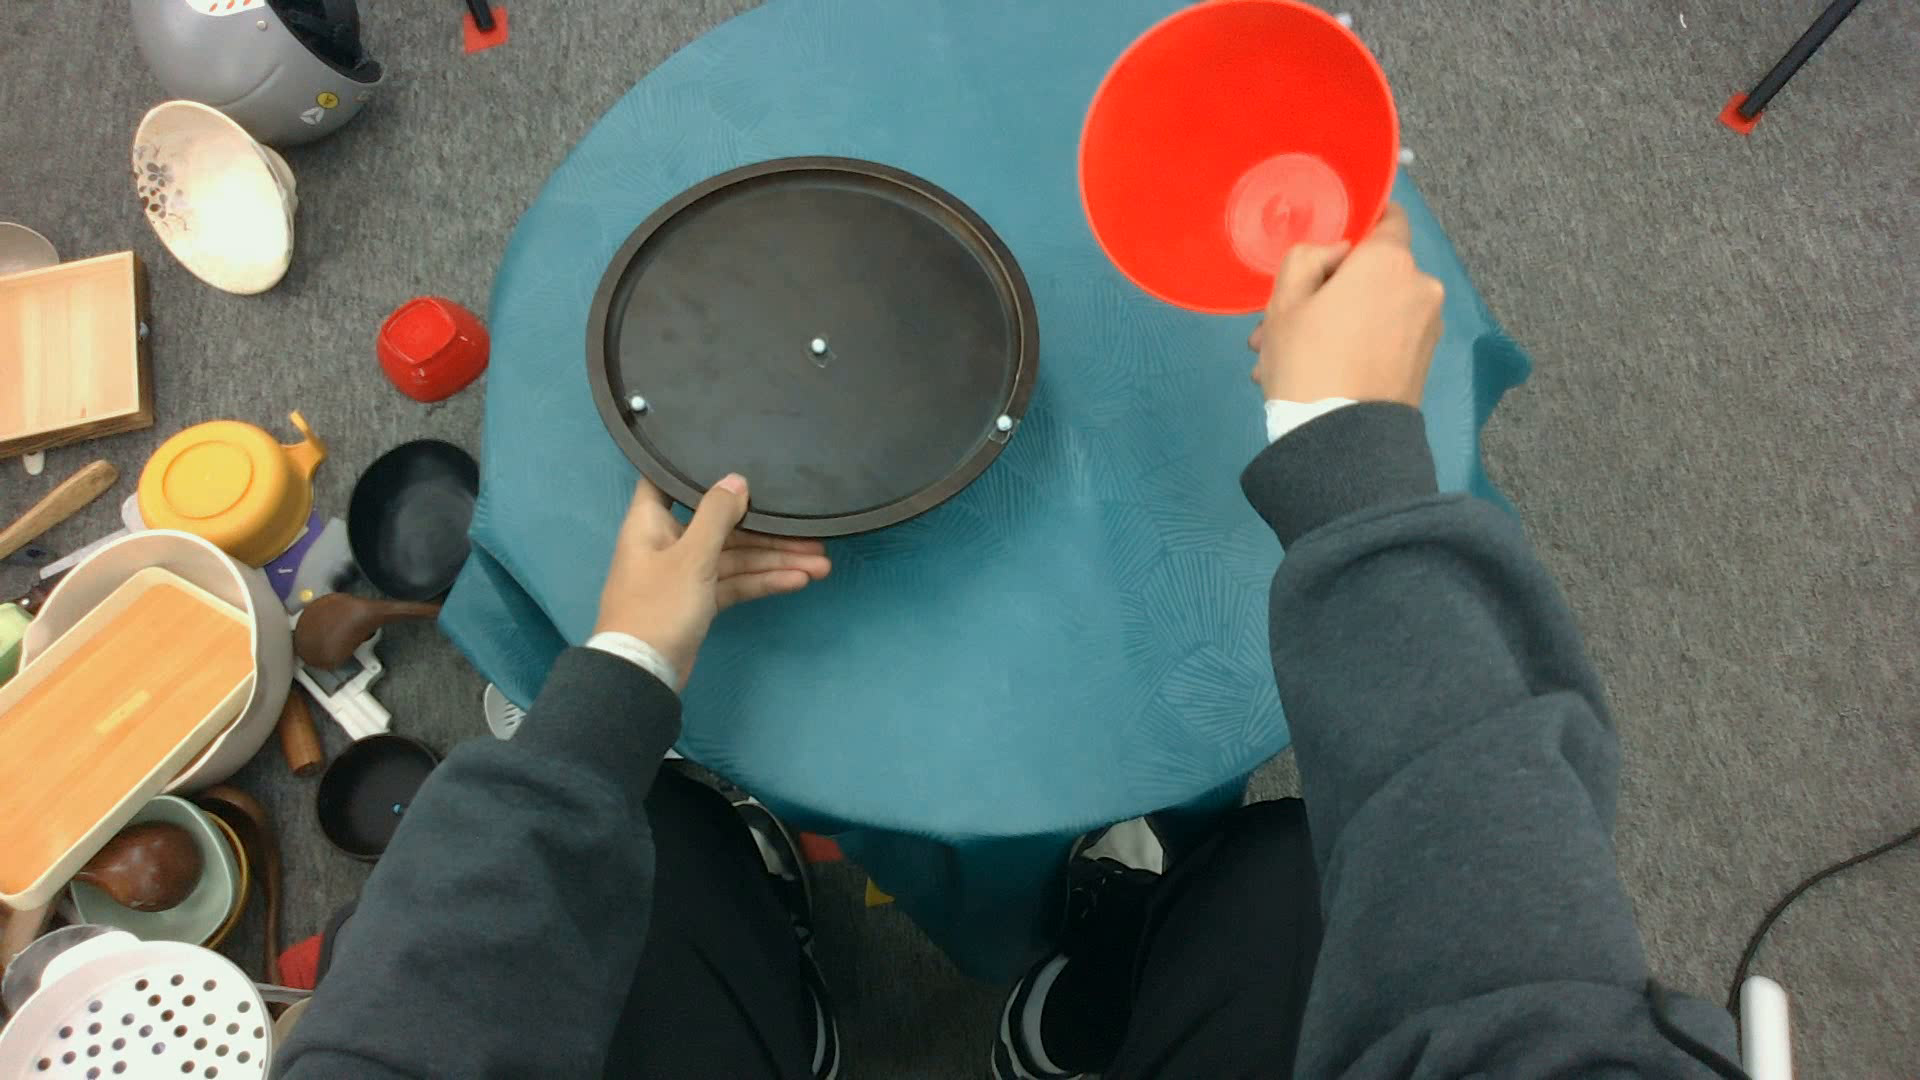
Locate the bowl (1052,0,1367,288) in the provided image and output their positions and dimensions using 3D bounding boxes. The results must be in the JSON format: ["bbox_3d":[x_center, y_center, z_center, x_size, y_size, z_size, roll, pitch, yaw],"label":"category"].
[{"bbox_3d":[0.132,-0.192,0.687,0.147,0.105,0.148,-1,87,24],"label":"bowl"}]

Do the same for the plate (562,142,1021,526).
[{"bbox_3d":[-0.093,-0.120,0.773,0.255,0.029,0.255,2,65,-4],"label":"plate"}]
